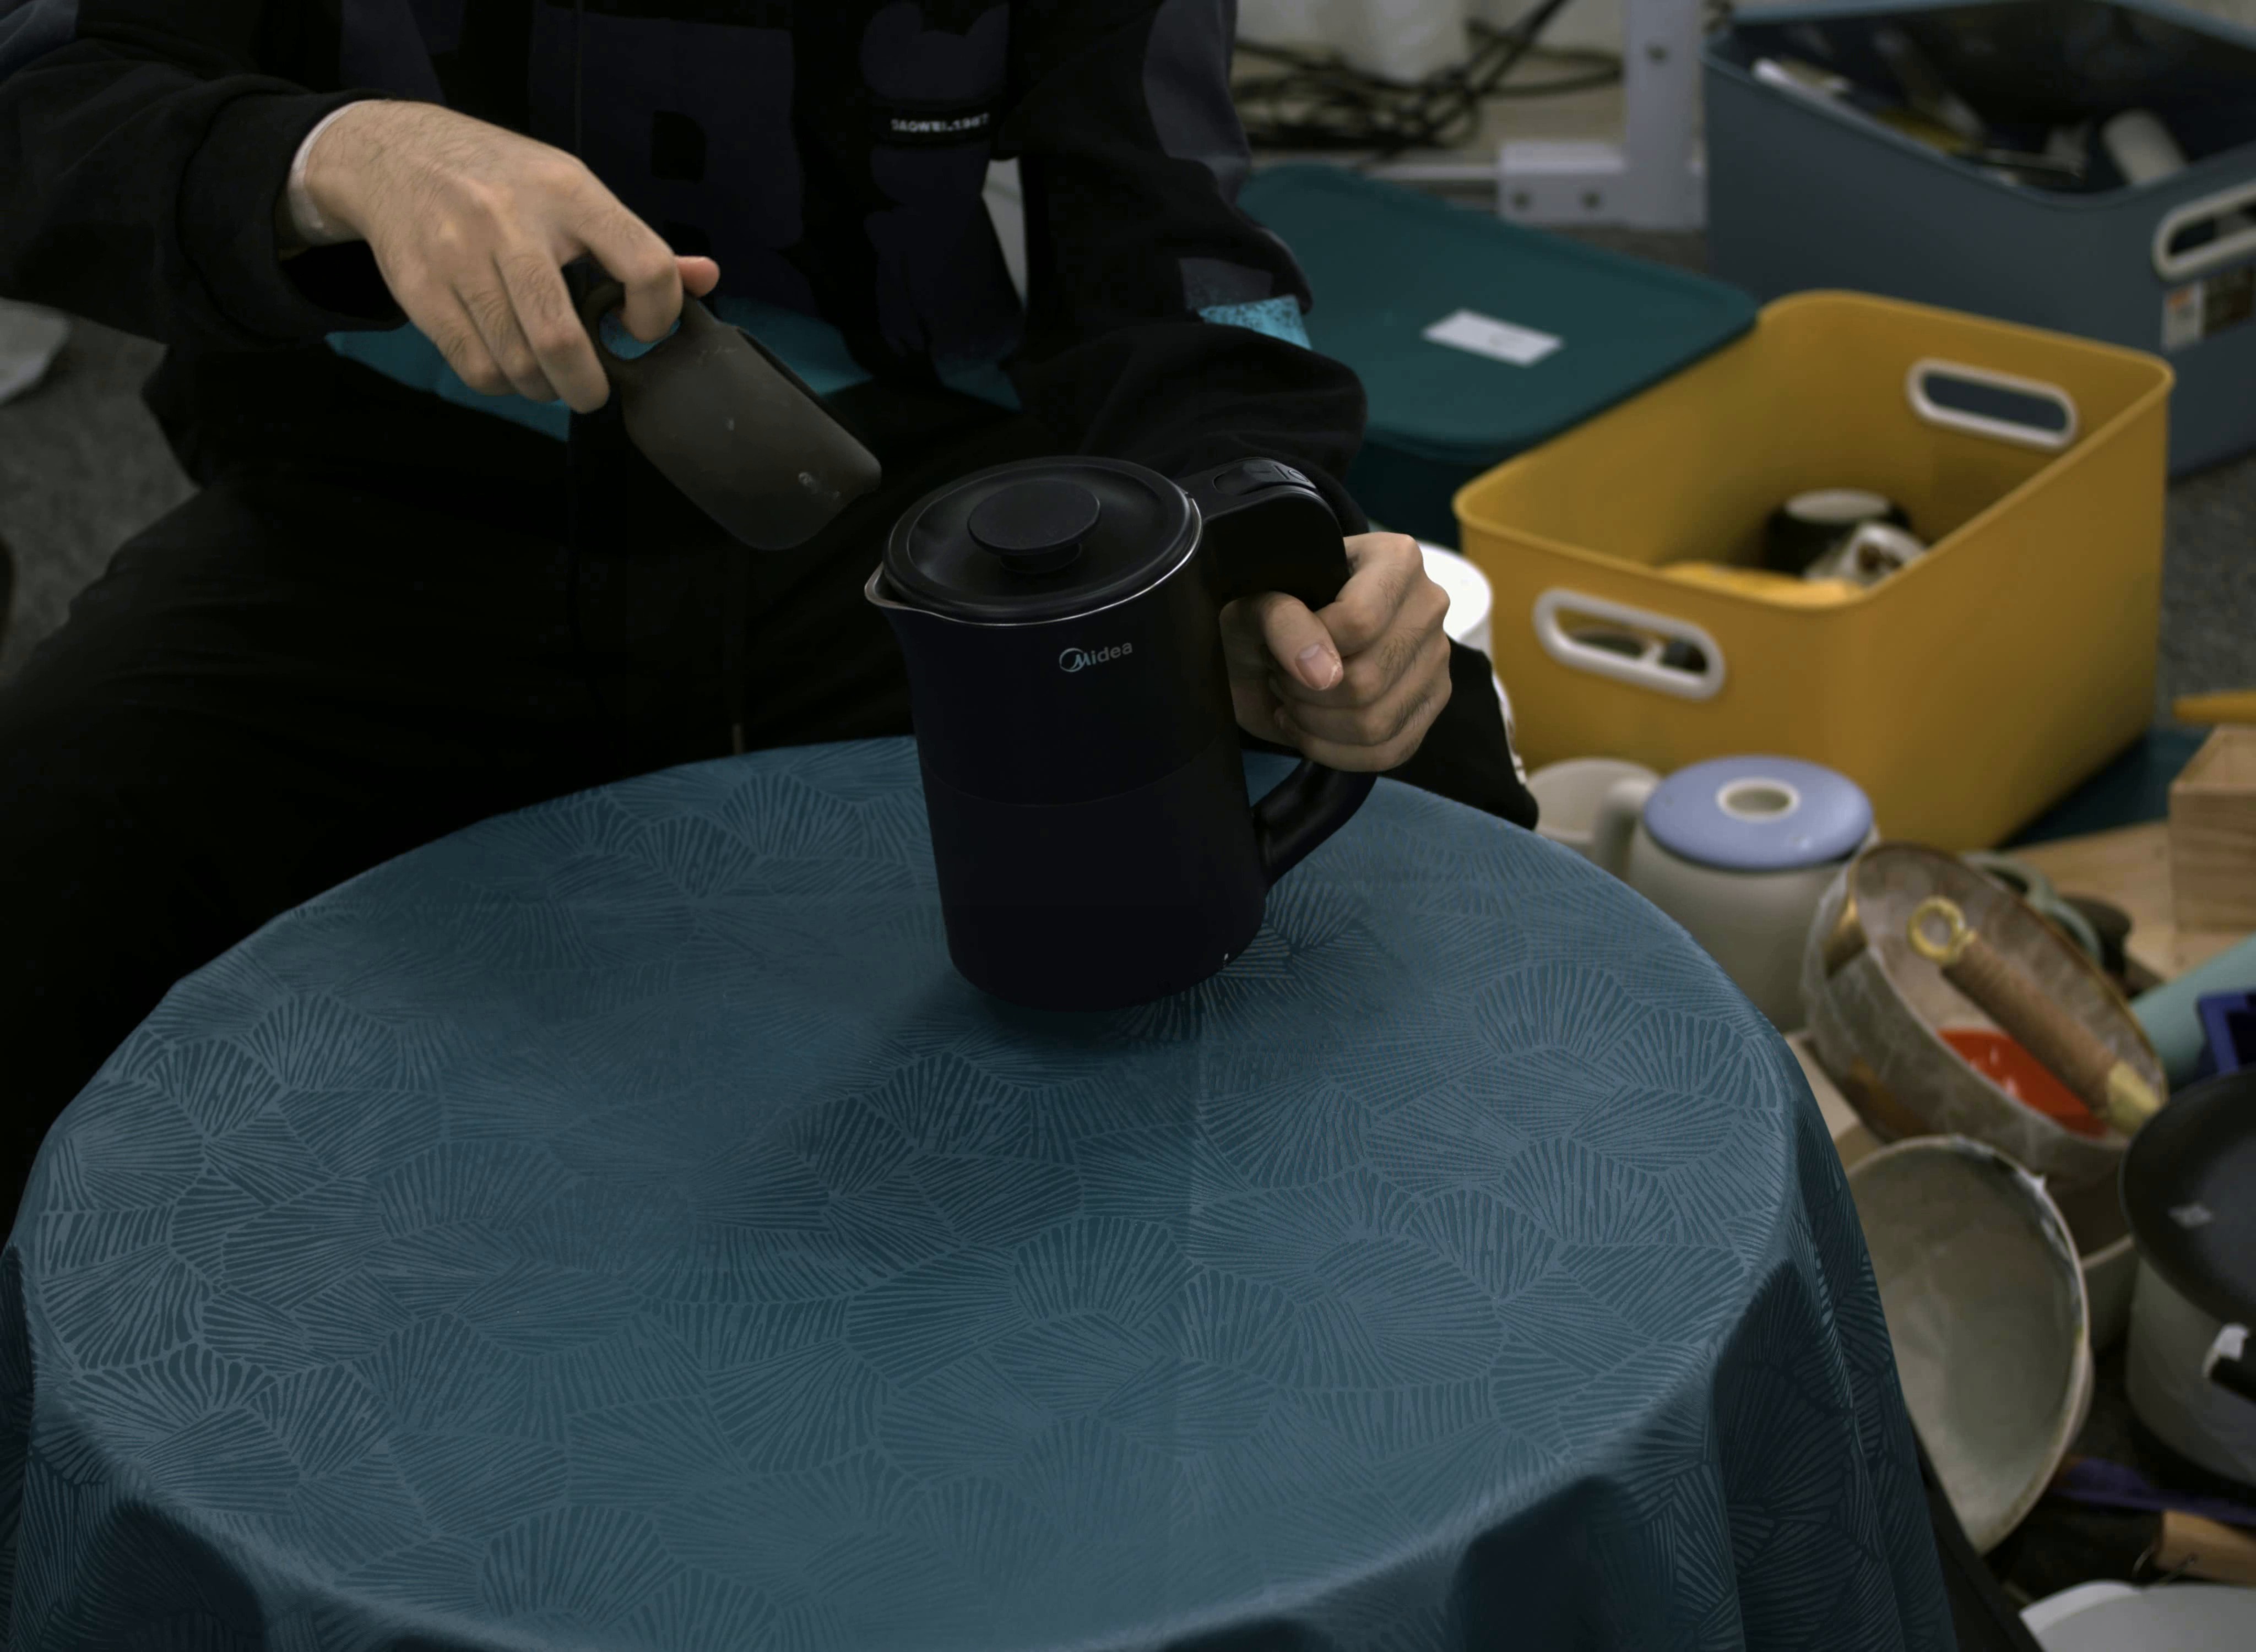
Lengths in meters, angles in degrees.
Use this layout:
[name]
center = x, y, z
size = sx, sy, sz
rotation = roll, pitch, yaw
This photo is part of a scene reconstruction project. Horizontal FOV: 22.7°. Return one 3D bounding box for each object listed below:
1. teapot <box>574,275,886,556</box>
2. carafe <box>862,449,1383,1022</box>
[teapot]
center = -0.134, -0.135, 1.850
size = 0.053, 0.114, 0.083
rotation = -44, 11, 4
[carafe]
center = 0.001, -0.044, 1.940
size = 0.172, 0.171, 0.115
rotation = -20, 31, -15
